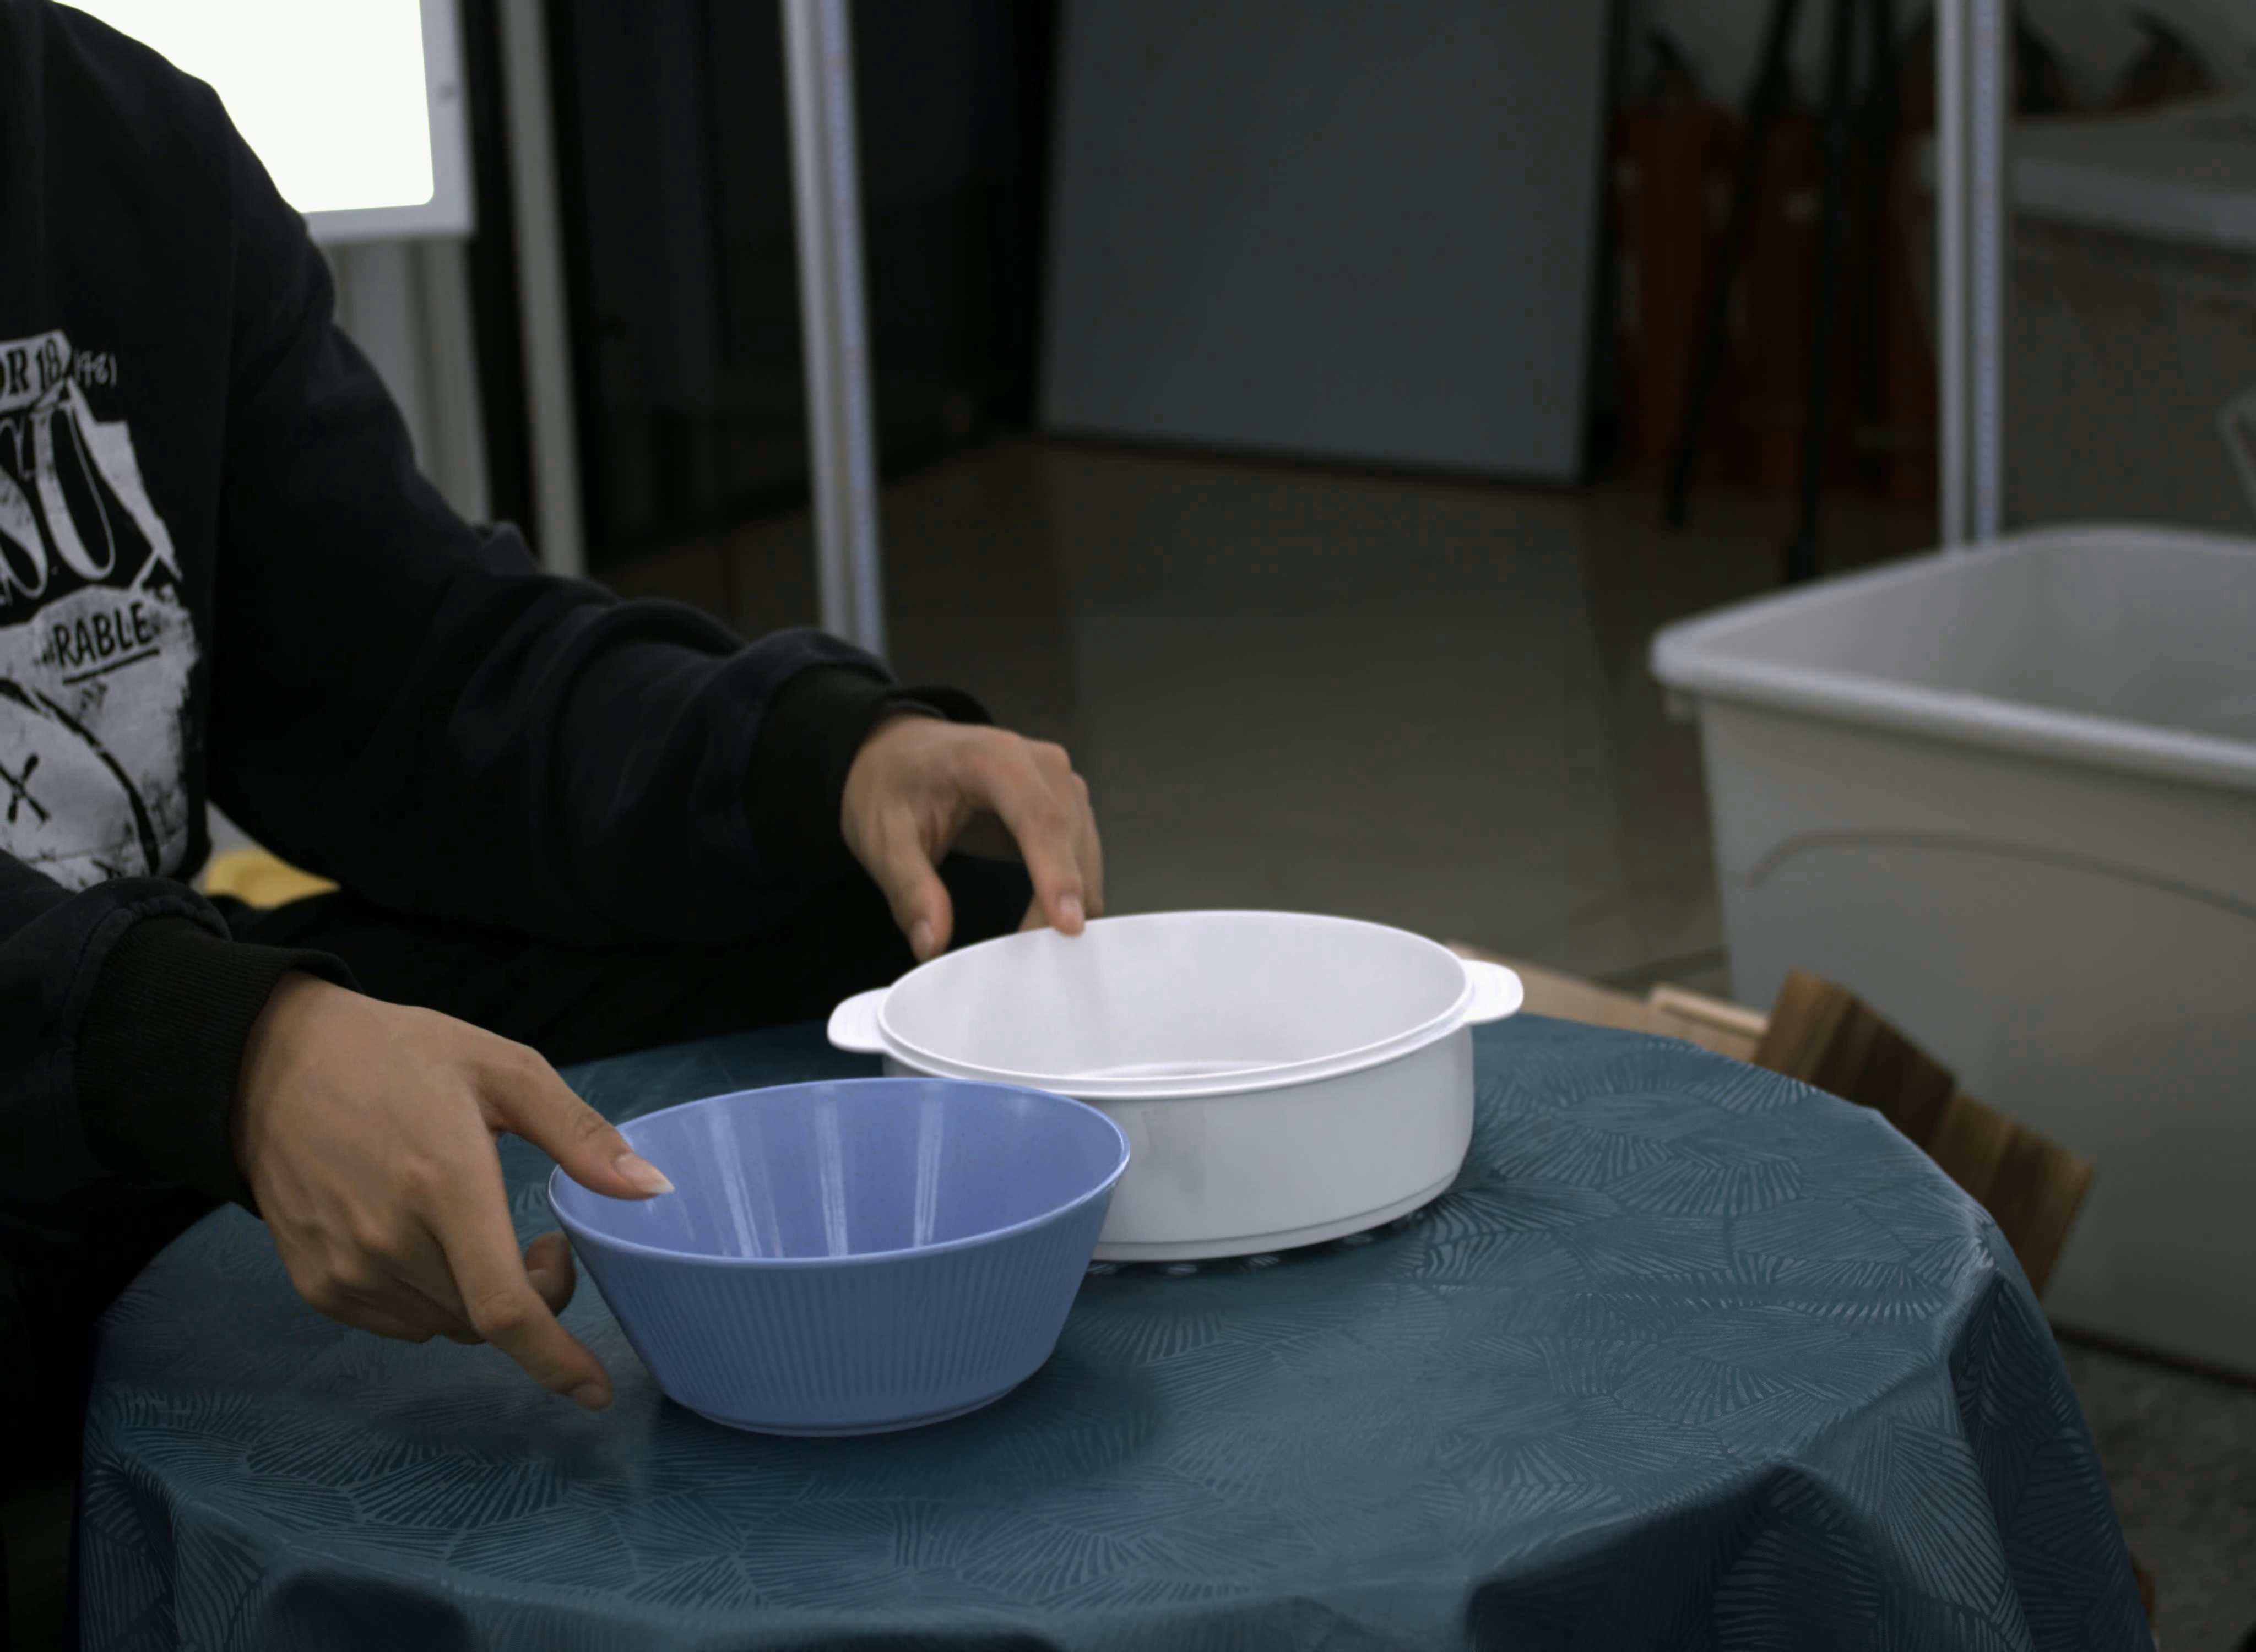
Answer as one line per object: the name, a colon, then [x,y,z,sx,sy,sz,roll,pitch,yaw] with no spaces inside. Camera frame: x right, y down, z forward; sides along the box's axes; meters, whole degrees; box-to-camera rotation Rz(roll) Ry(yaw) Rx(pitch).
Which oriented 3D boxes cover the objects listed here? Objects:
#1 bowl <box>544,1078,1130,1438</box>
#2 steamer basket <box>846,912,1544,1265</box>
bowl: [-0.084,0.131,1.607,0.174,0.071,0.176,-3,14,0]
steamer basket: [0.022,0.085,1.766,0.228,0.070,0.202,-1,14,3]
